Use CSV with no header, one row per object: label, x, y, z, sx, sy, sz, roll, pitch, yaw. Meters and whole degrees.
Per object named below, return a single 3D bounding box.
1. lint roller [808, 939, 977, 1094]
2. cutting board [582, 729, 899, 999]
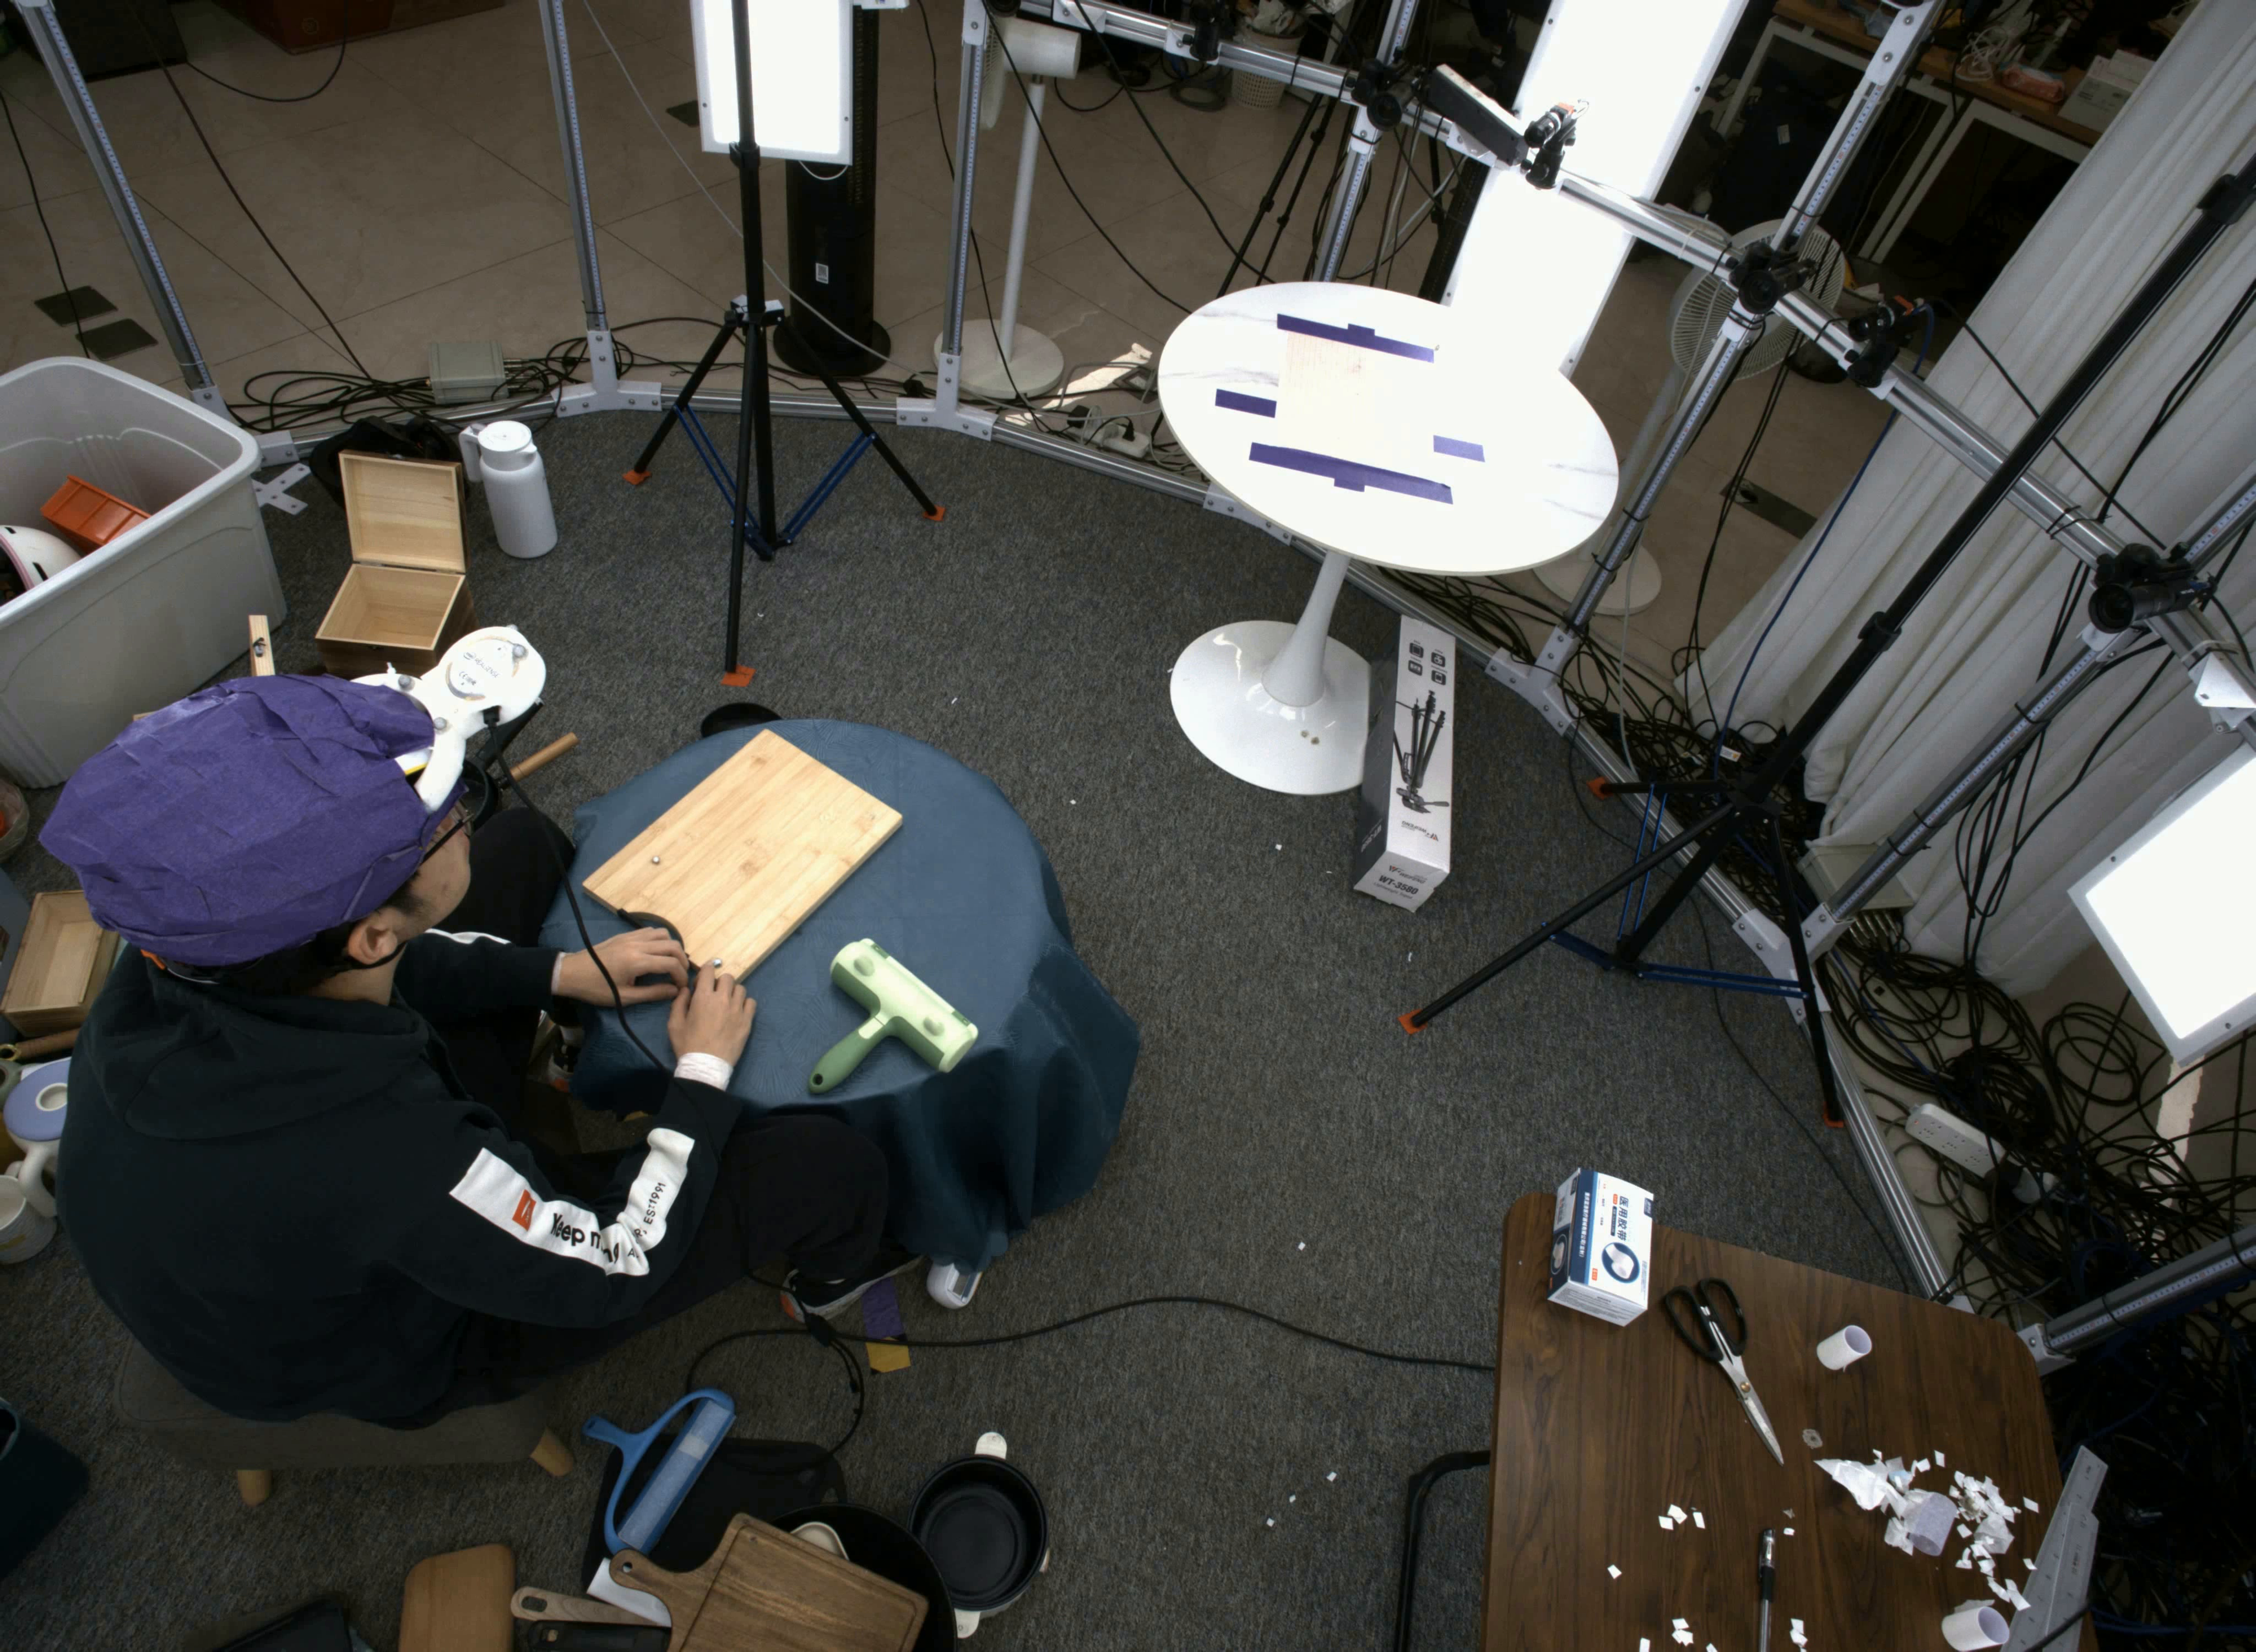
lint roller,-0.307,0.238,1.536,0.195,0.084,0.183,38,50,14
cutting board,-0.495,0.037,1.674,0.246,0.024,0.347,32,53,9
